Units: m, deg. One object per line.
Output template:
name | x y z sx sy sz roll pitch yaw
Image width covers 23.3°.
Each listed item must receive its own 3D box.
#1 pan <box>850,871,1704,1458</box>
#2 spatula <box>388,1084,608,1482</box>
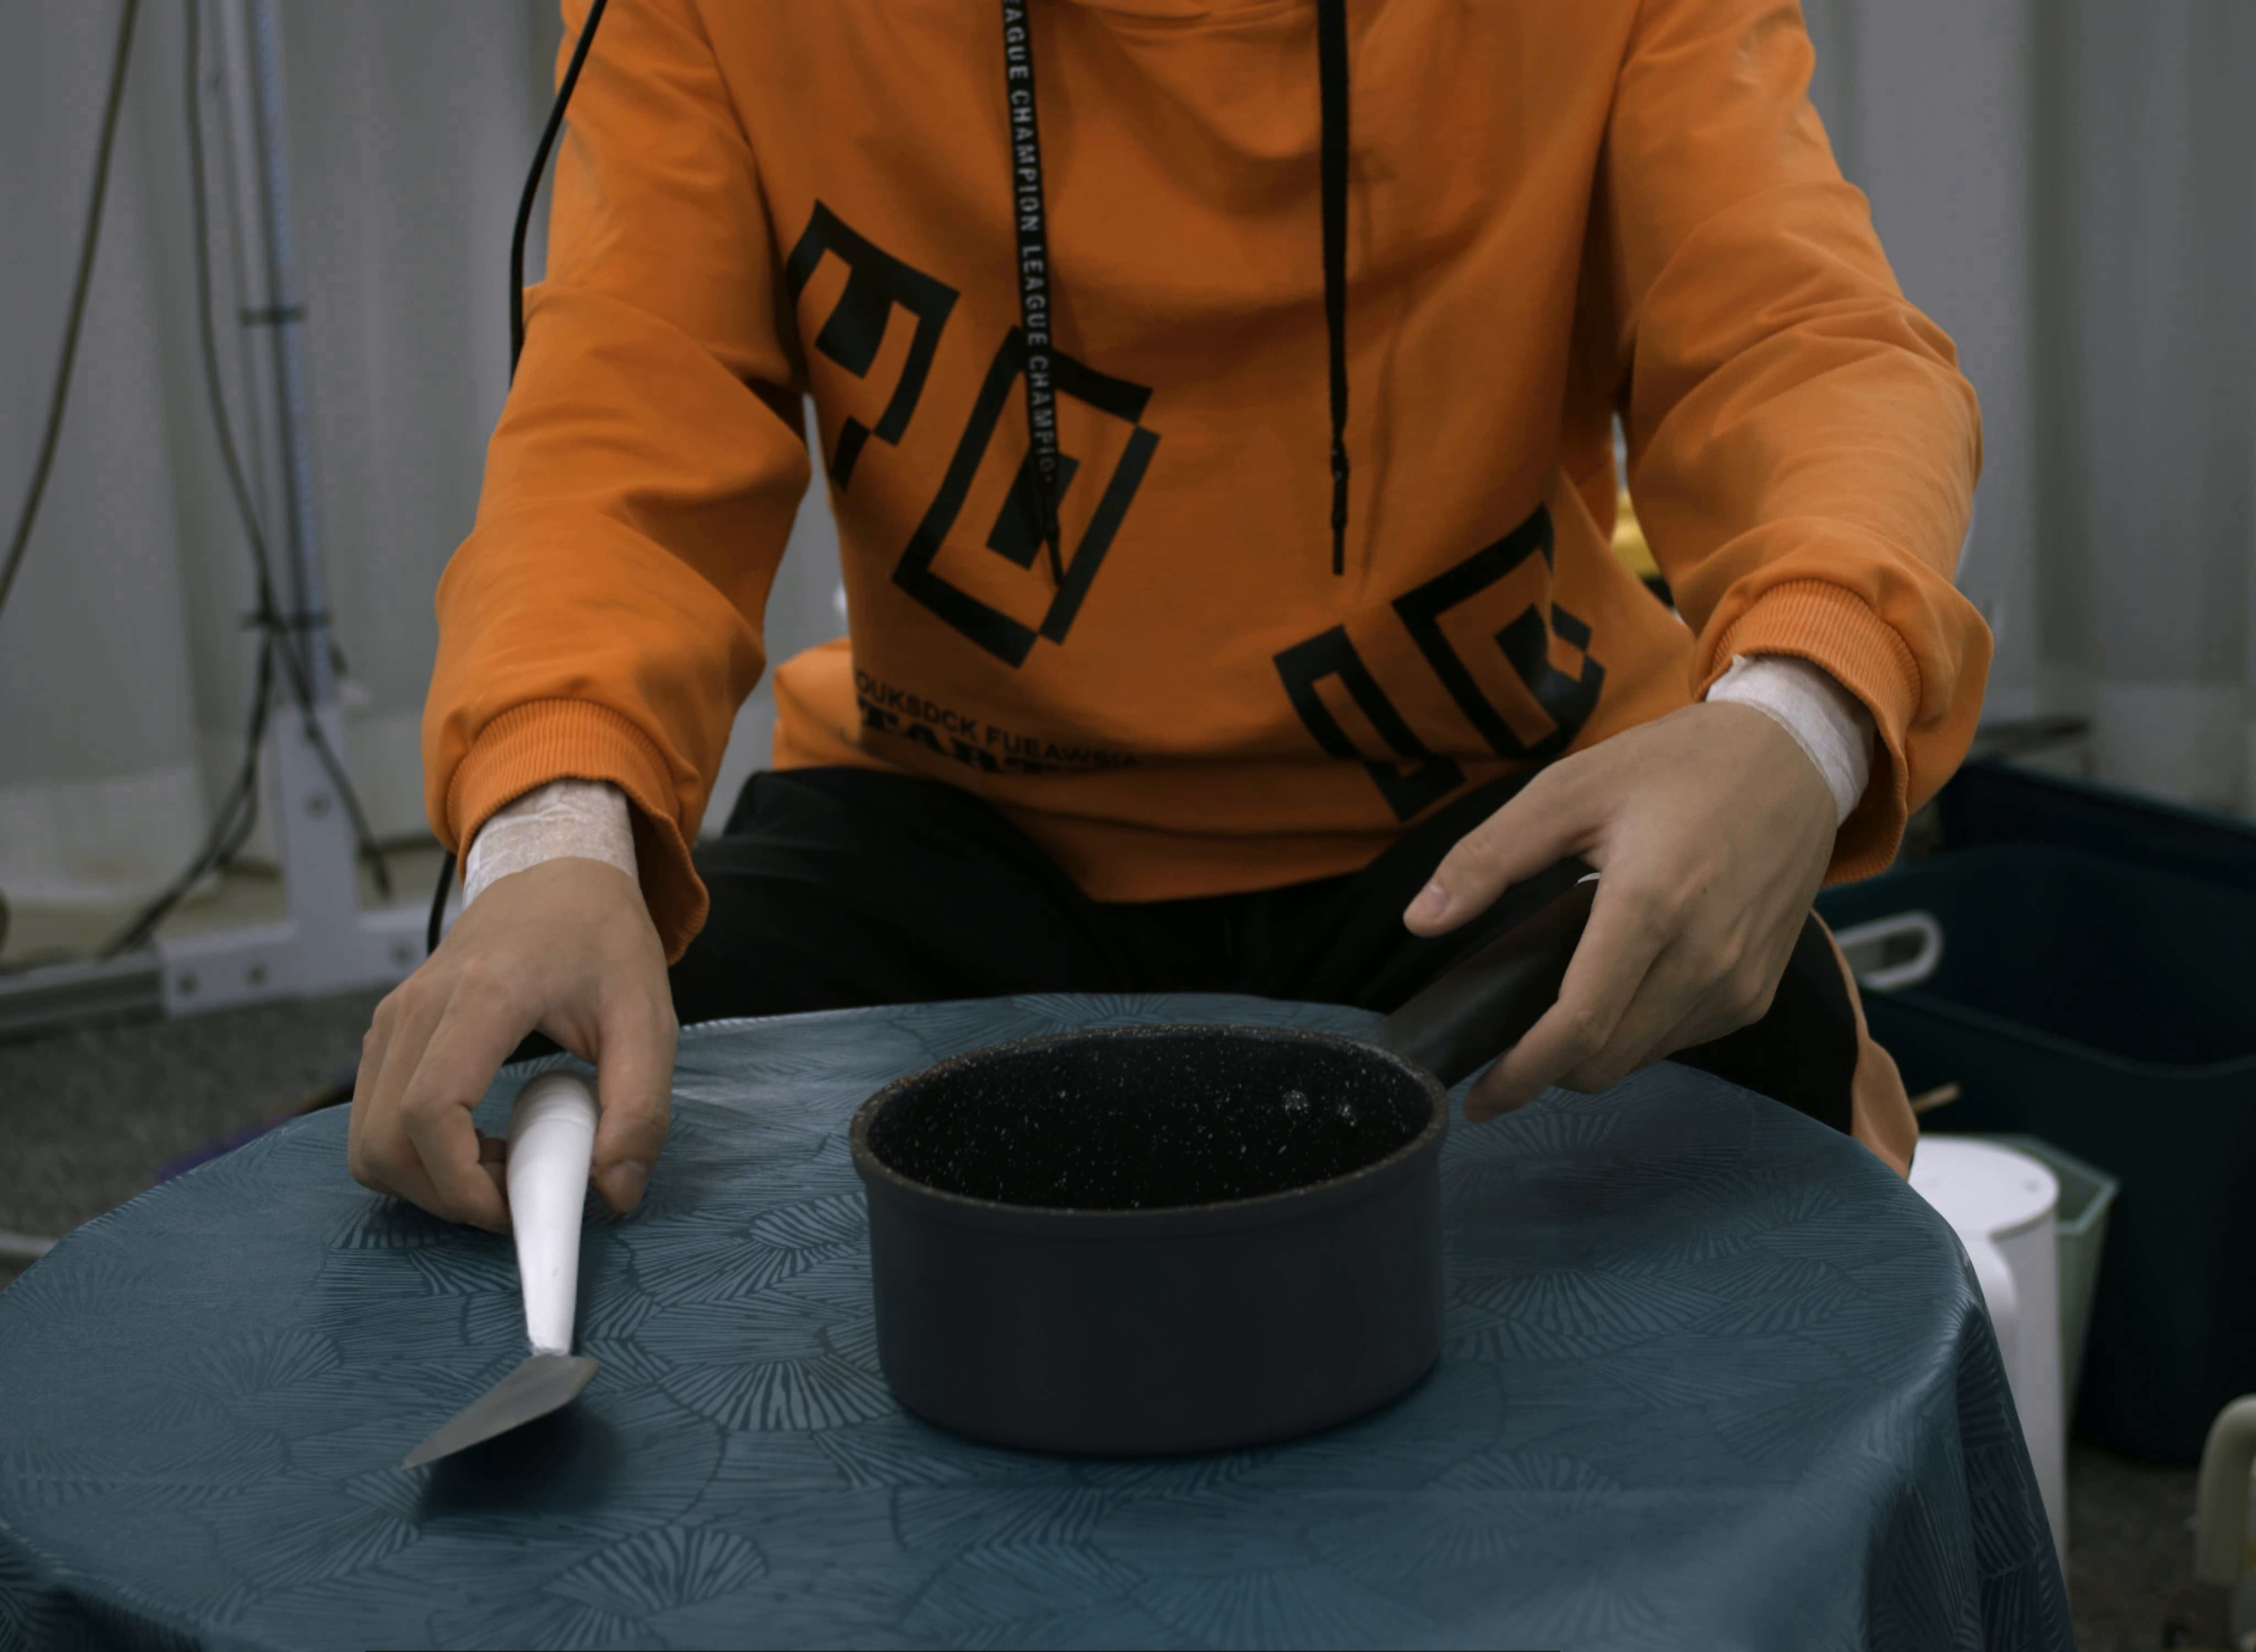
pan | 0.060 0.095 1.613 0.173 0.086 0.328 11 22 41
spatula | -0.176 0.135 1.610 0.058 0.032 0.290 -21 15 4
